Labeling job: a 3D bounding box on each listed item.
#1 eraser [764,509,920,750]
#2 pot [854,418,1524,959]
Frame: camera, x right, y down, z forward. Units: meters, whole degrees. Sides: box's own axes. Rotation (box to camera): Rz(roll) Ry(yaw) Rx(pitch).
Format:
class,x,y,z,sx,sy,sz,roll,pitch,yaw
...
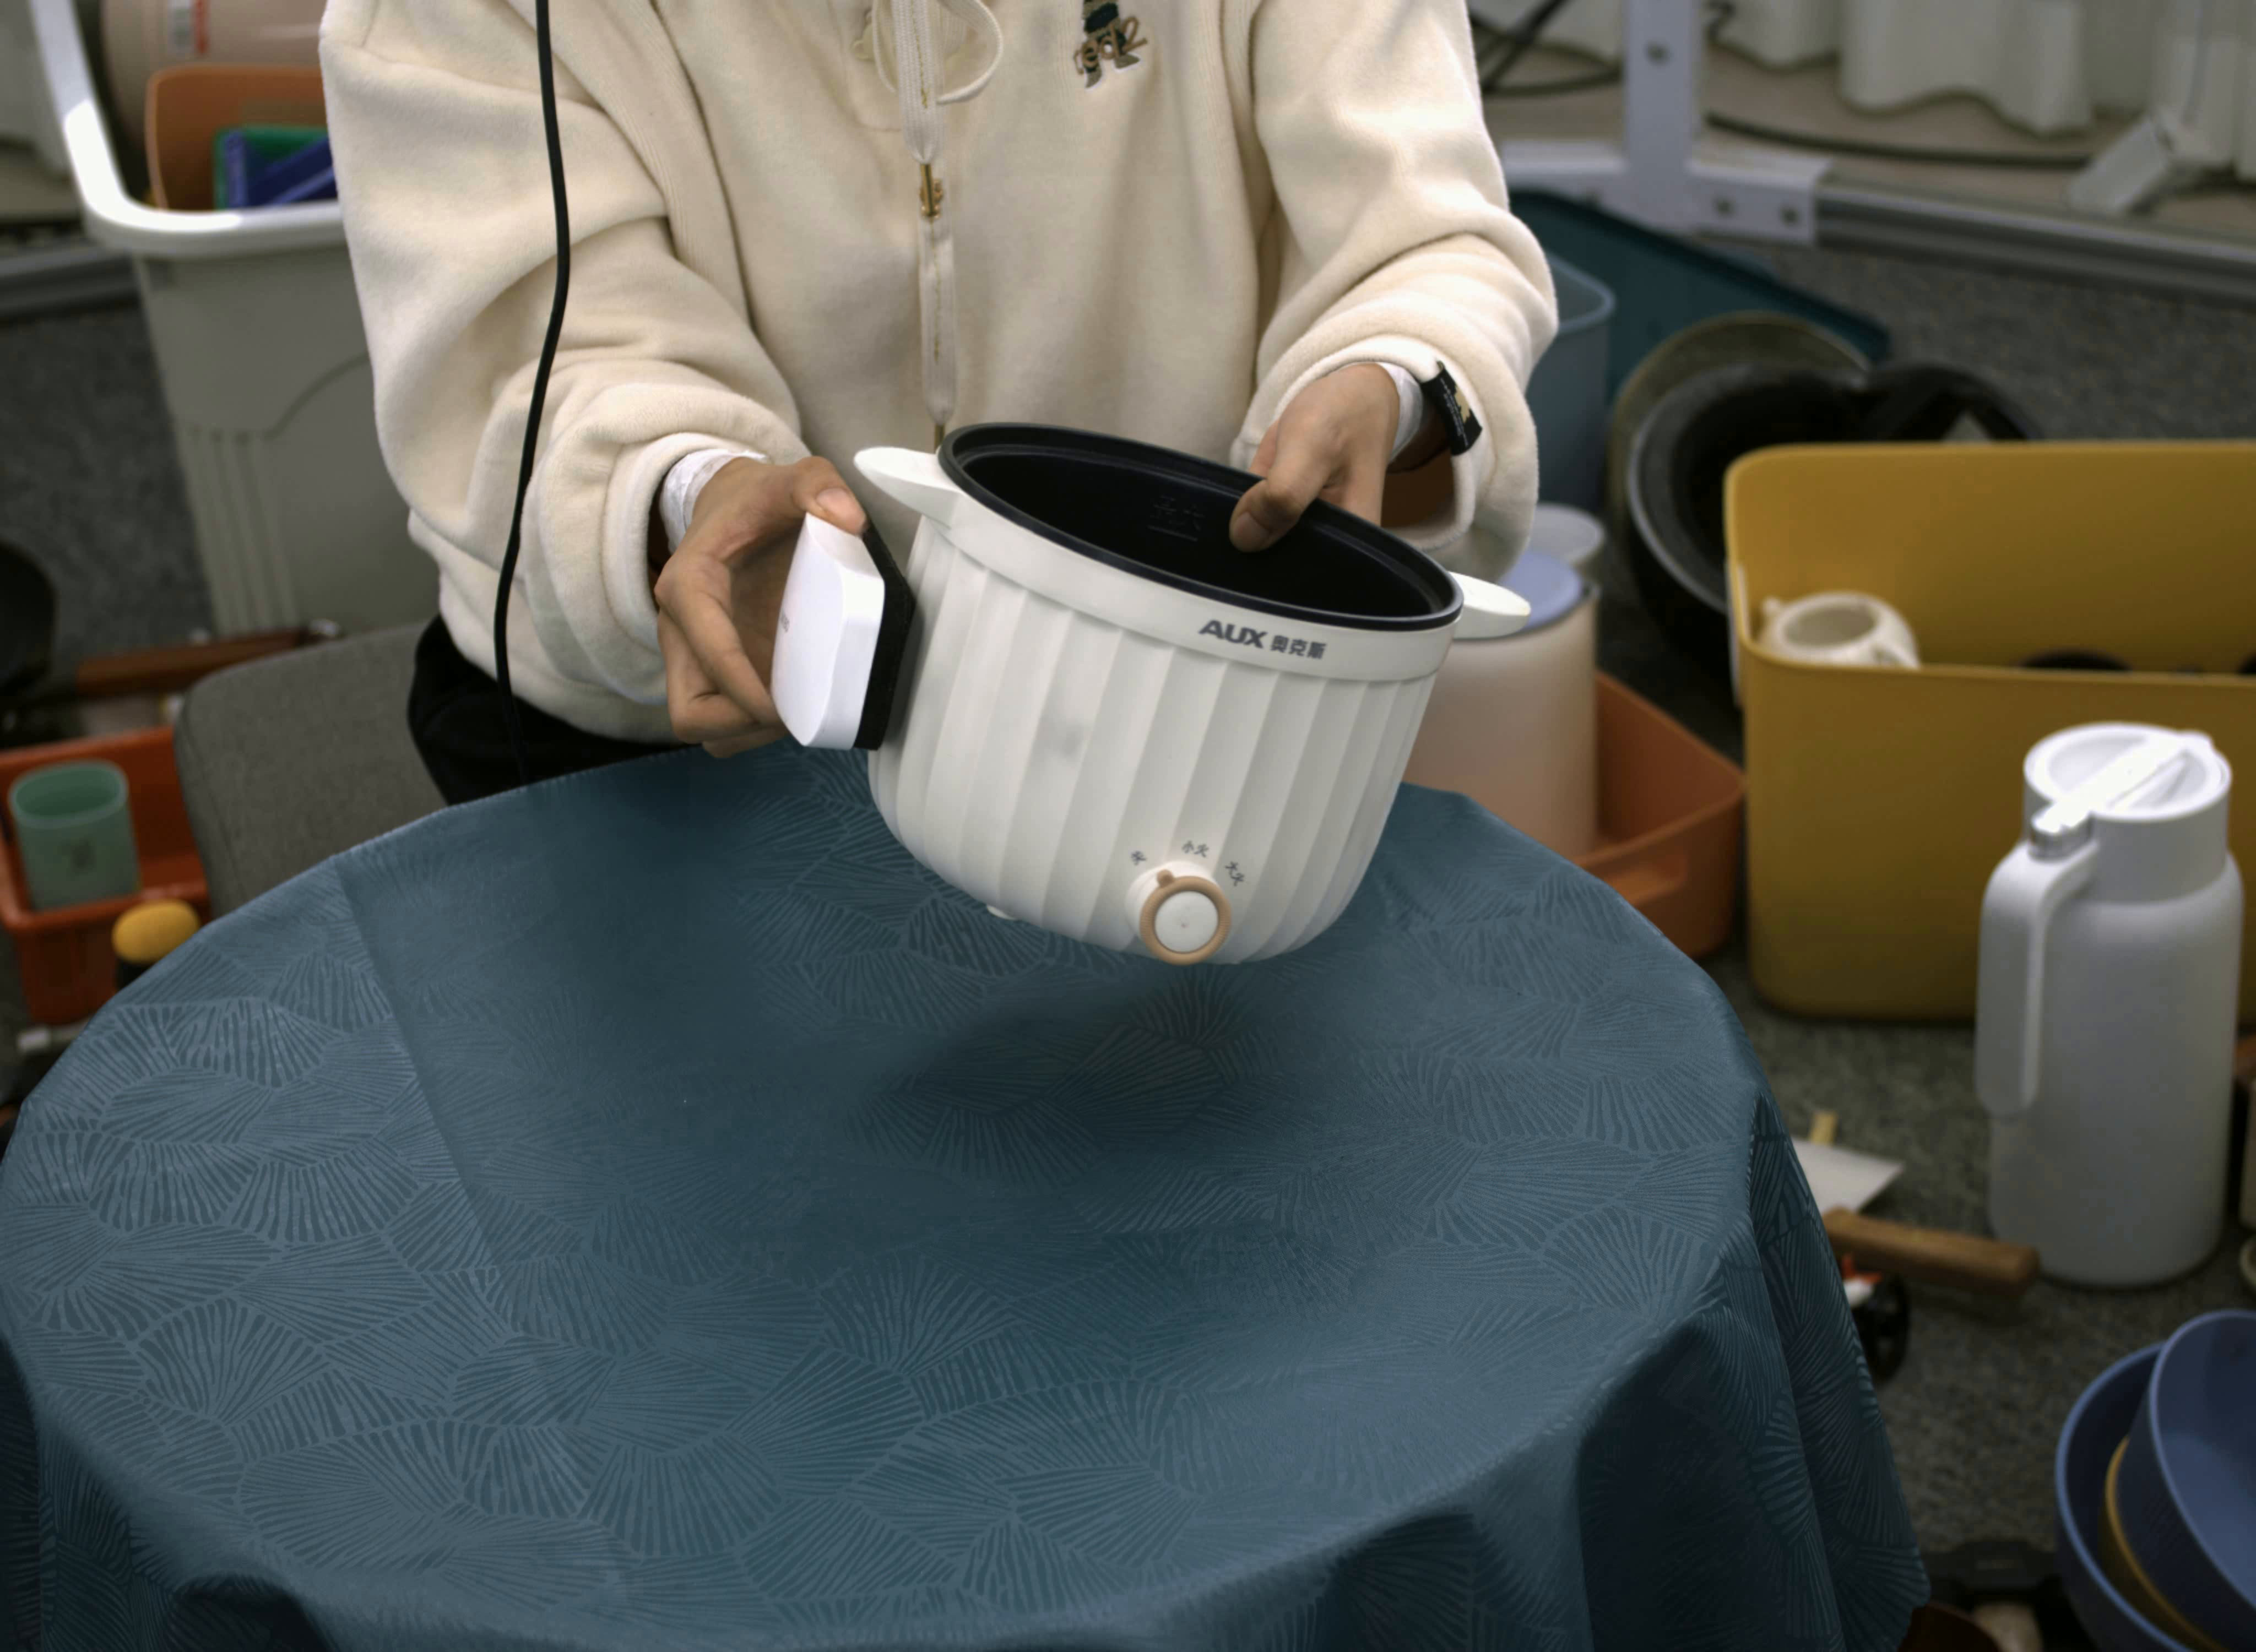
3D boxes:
class,x,y,z,sx,sy,sz,roll,pitch,yaw
eraser,-0.098,-0.067,1.876,0.034,0.063,0.132,13,11,-13
pot,0.008,-0.040,1.871,0.240,0.142,0.191,11,13,-19
